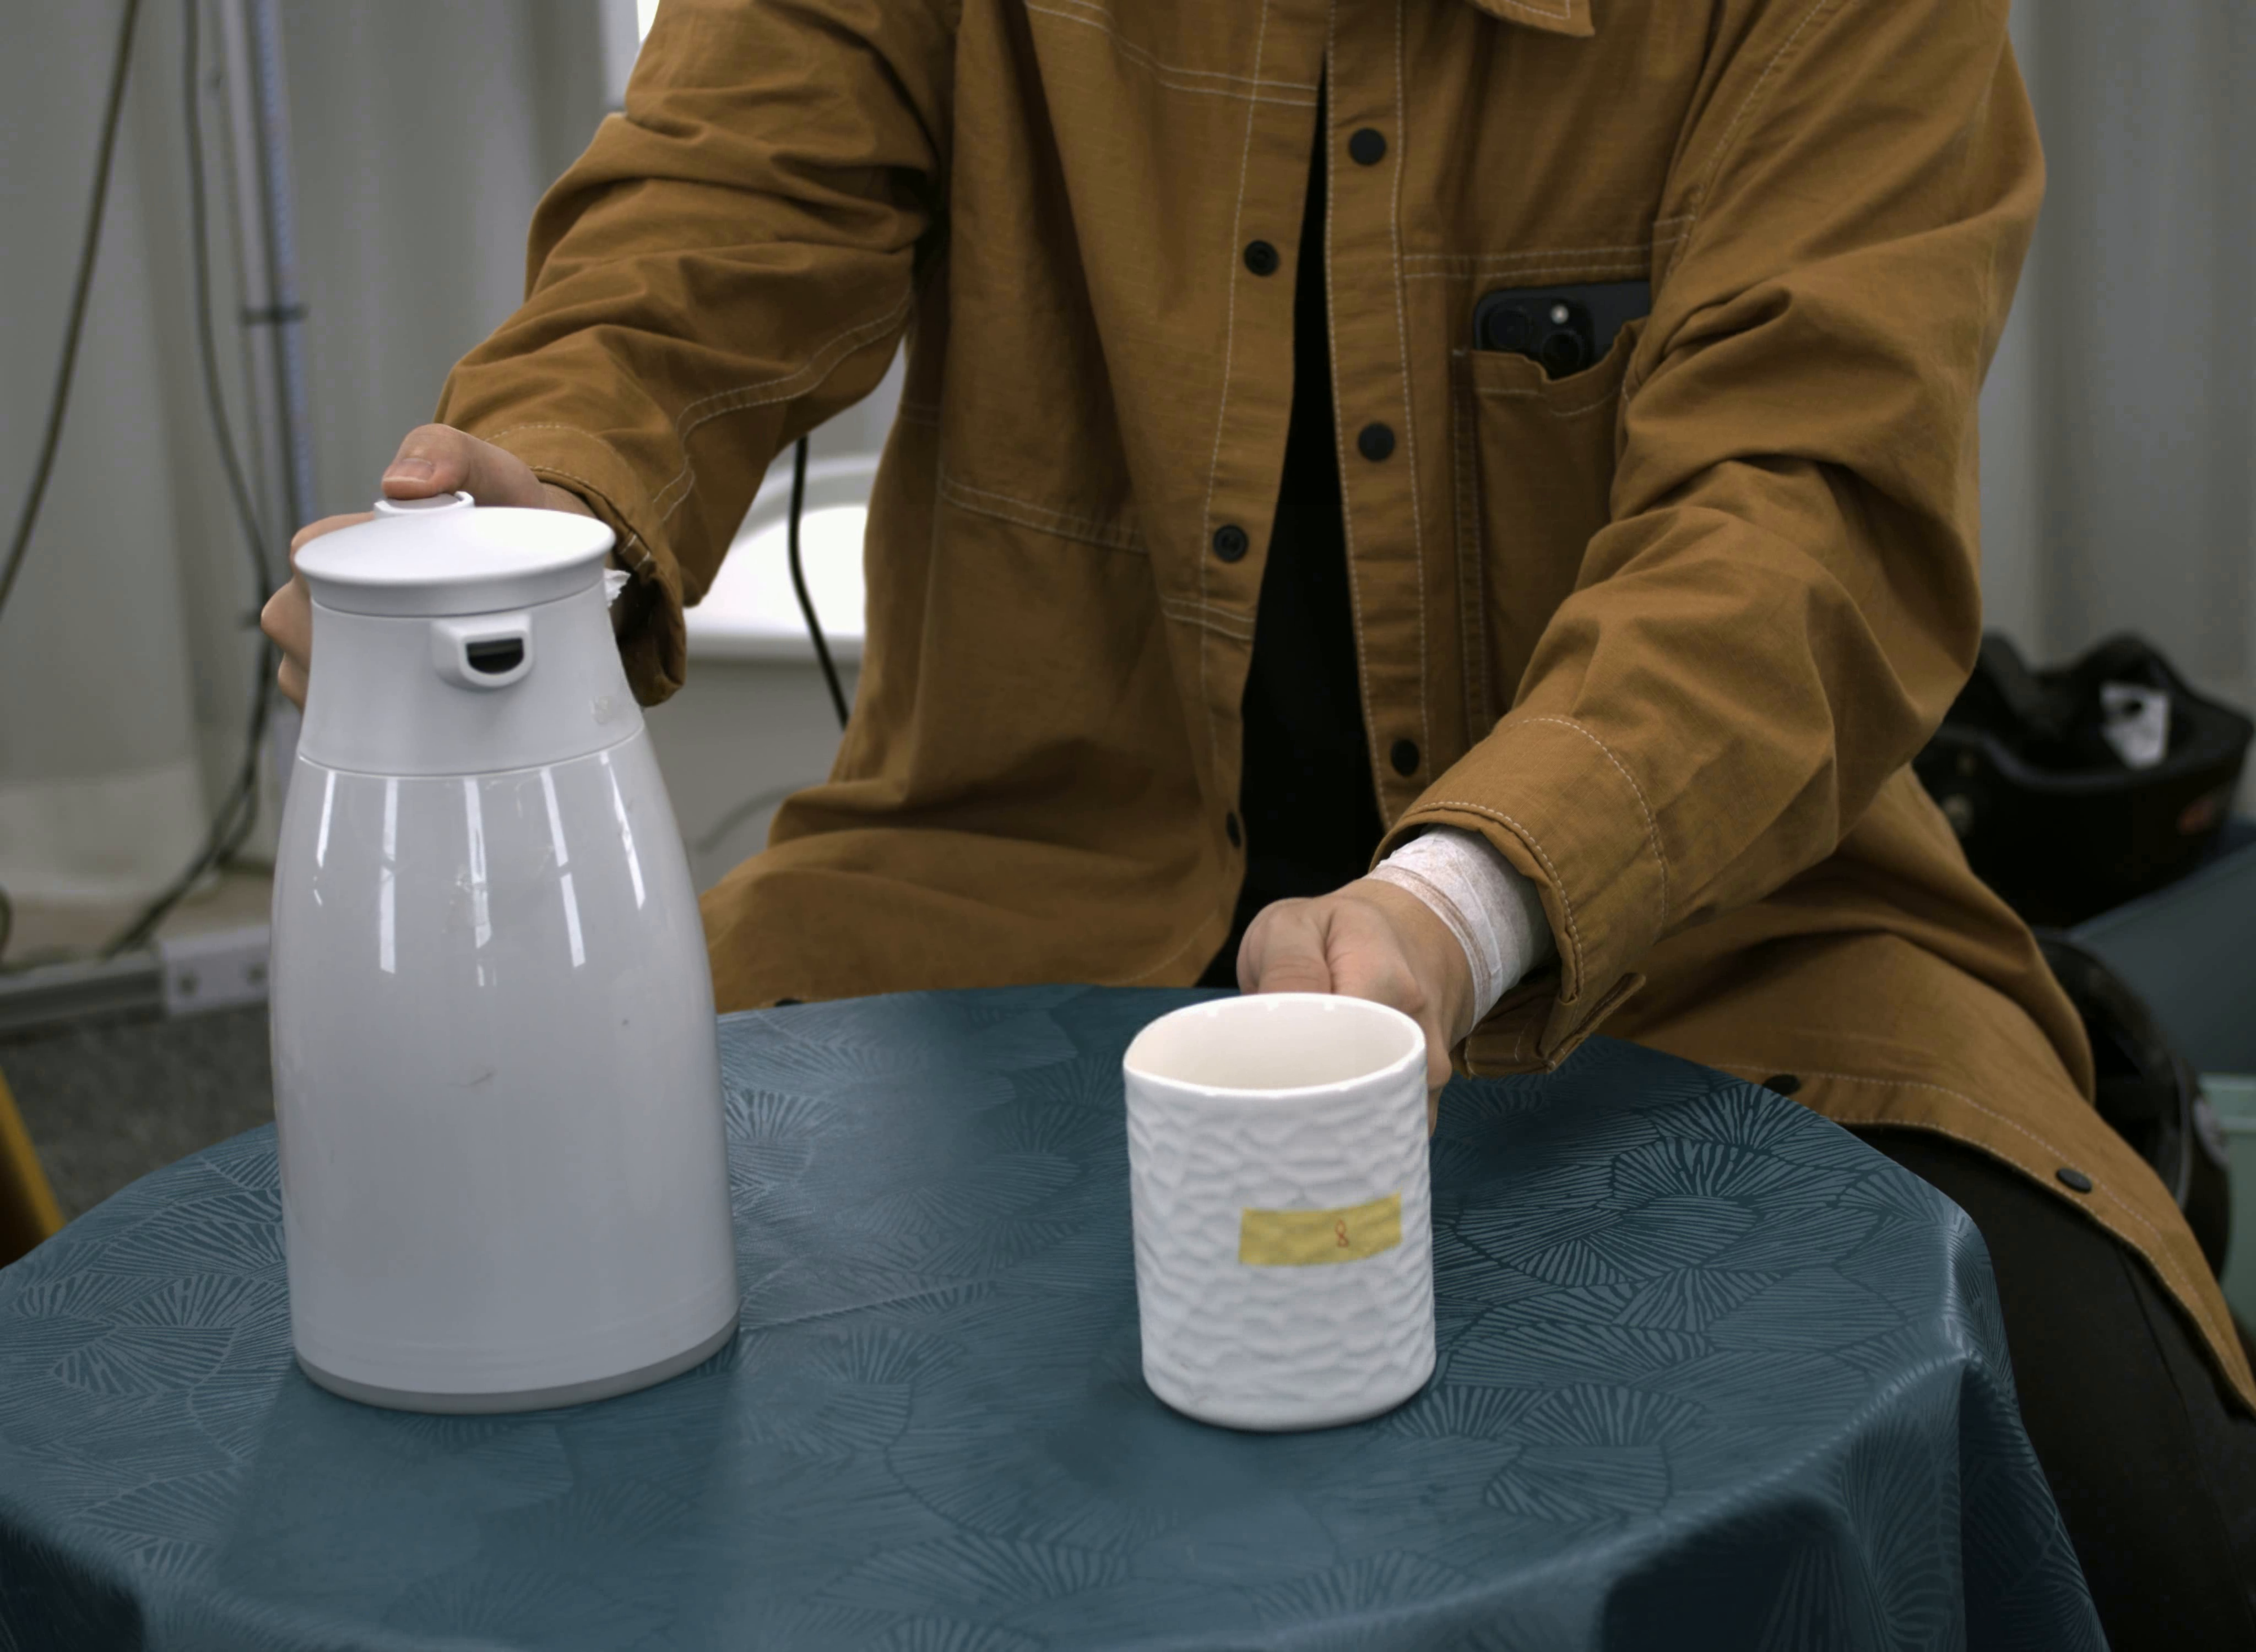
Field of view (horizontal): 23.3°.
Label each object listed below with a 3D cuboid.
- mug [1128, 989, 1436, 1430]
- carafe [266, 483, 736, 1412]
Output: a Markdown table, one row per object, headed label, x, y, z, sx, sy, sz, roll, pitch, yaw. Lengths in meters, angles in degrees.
| label | x | y | z | sx | sy | sz | roll | pitch | yaw |
| --- | --- | --- | --- | --- | --- | --- | --- | --- | --- |
| mug | 0.045 | 0.103 | 1.545 | 0.085 | 0.101 | 0.119 | -1 | 16 | 4 |
| carafe | -0.193 | 0.027 | 1.603 | 0.132 | 0.248 | 0.169 | -7 | 14 | -16 |
